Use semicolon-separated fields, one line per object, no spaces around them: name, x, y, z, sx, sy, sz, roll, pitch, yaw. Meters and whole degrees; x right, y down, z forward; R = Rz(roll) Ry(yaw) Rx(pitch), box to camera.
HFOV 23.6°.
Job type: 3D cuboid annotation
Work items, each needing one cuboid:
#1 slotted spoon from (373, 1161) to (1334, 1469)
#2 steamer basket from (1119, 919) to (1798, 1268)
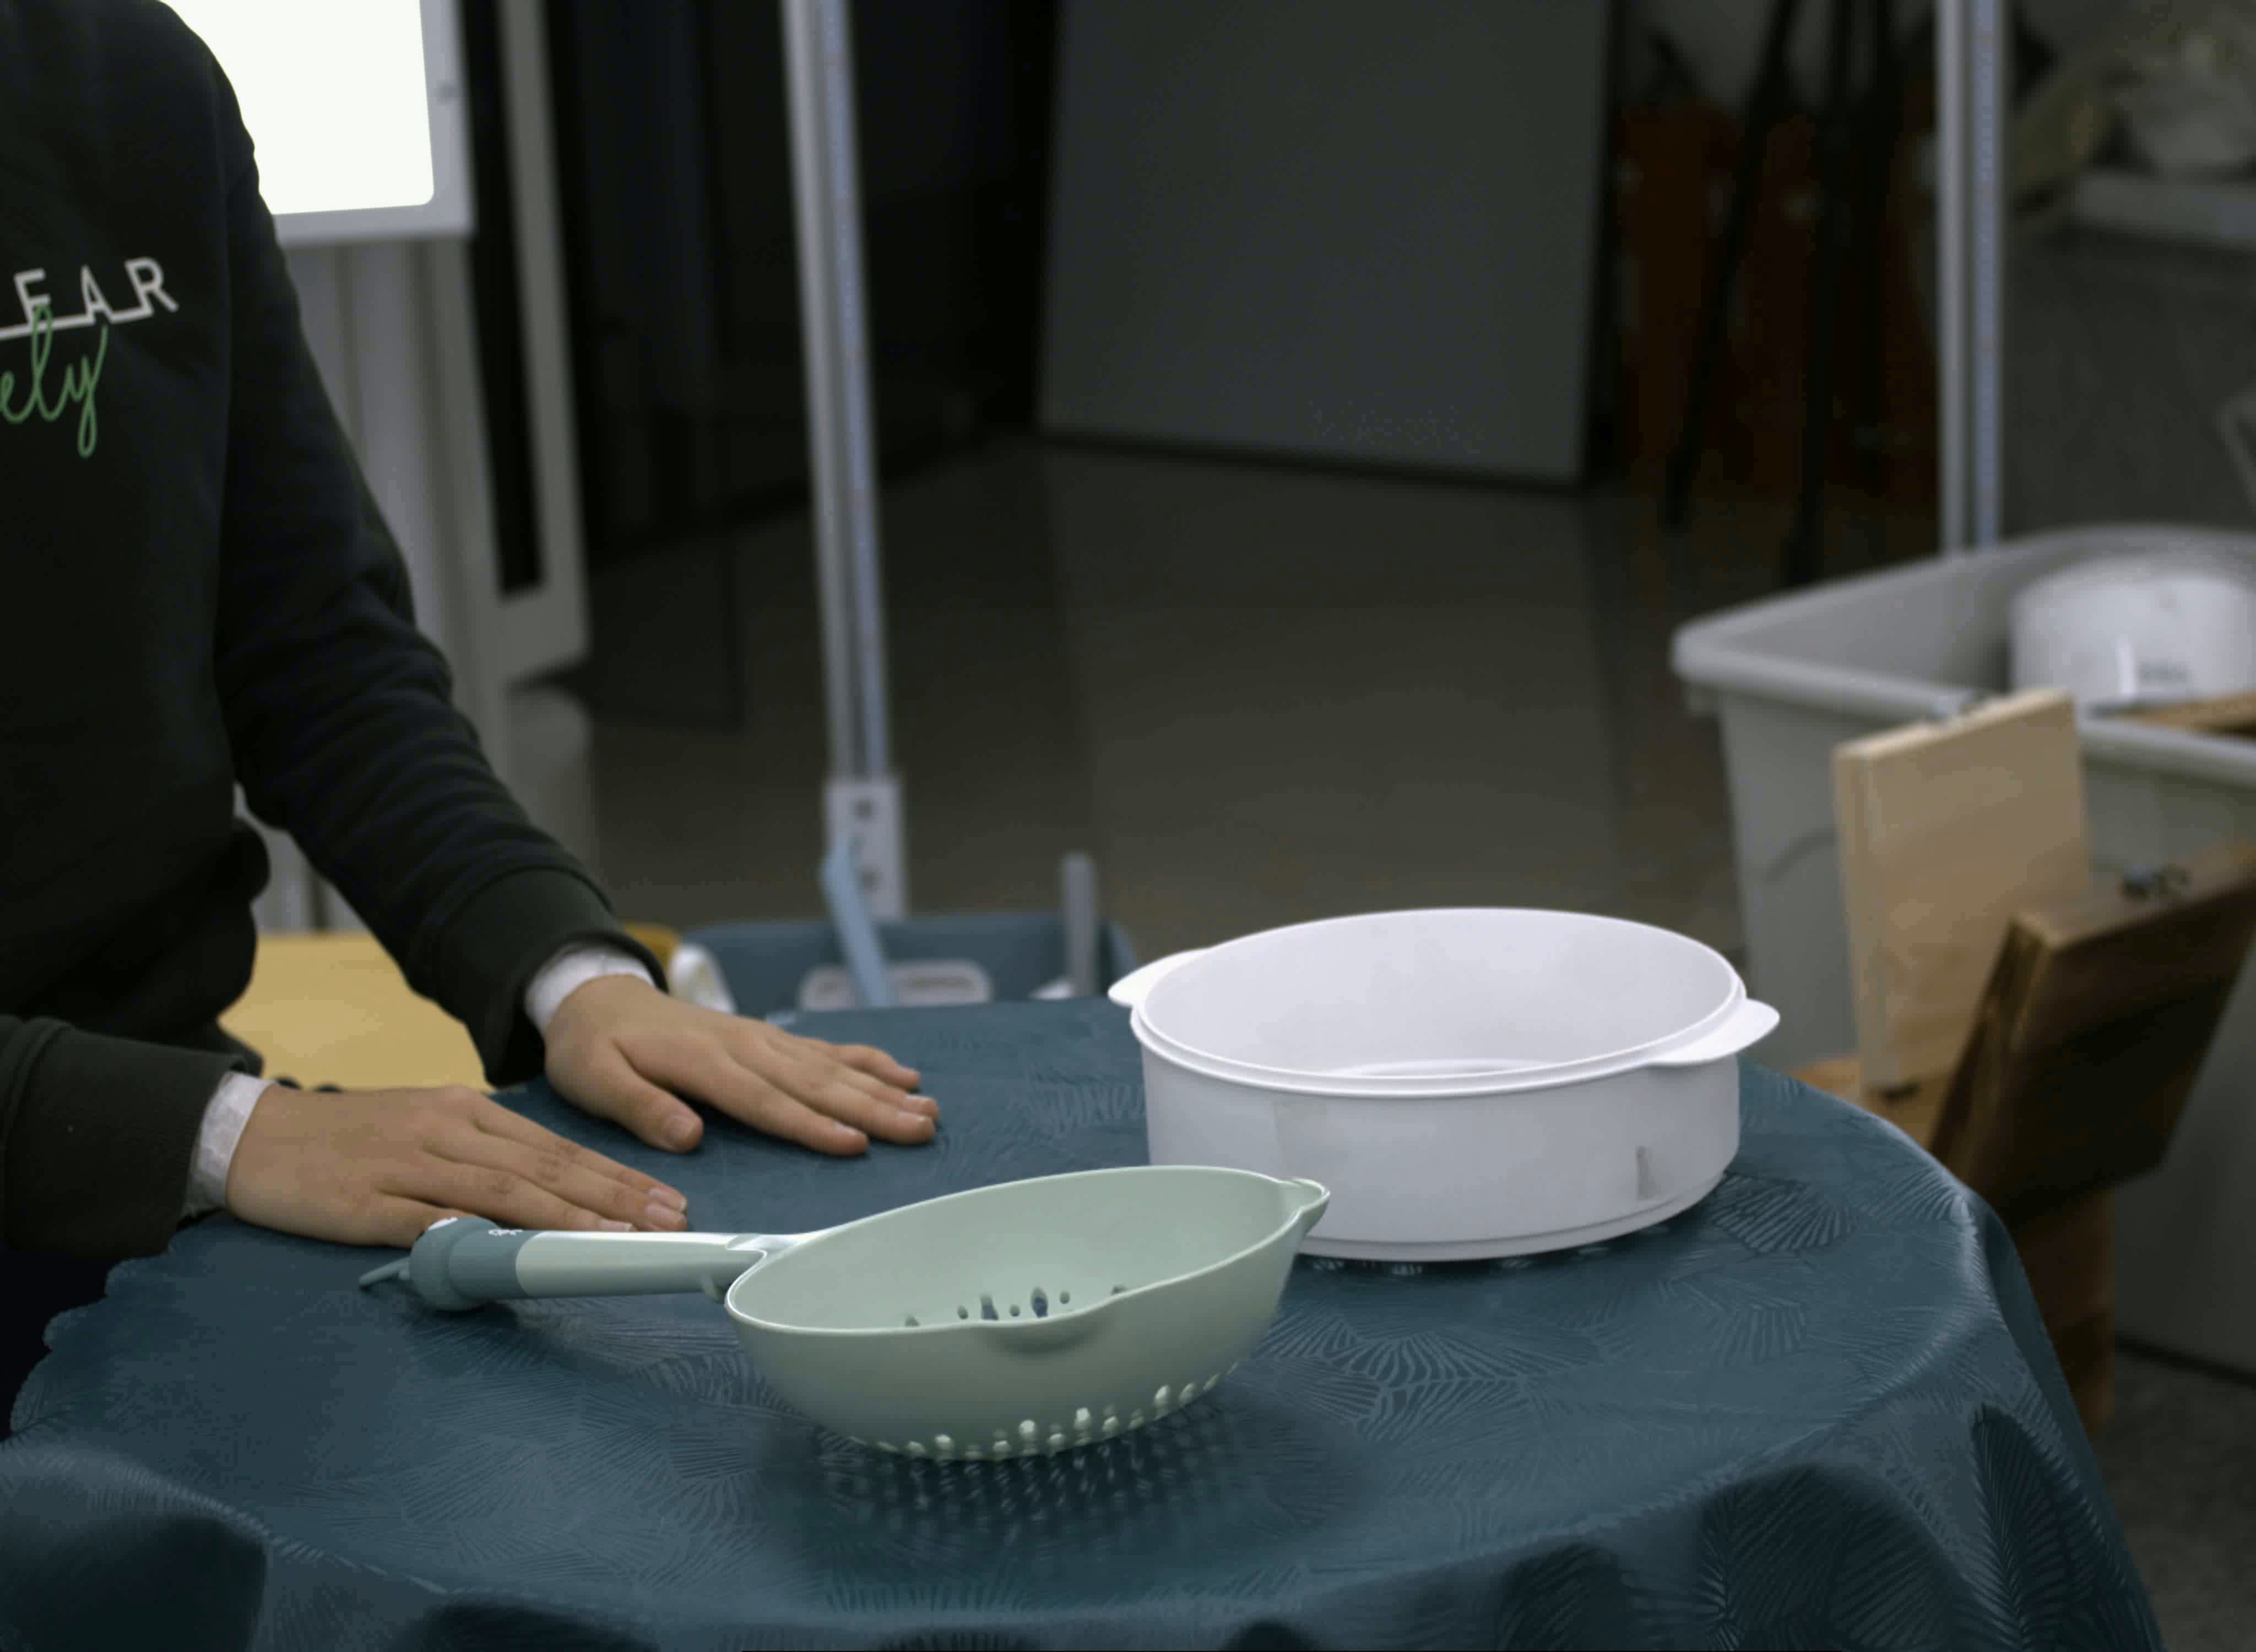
slotted spoon;-0.103;0.136;1.608;0.361;0.076;0.166;7;17;39
steamer basket;0.106;0.086;1.746;0.231;0.070;0.199;4;15;30
